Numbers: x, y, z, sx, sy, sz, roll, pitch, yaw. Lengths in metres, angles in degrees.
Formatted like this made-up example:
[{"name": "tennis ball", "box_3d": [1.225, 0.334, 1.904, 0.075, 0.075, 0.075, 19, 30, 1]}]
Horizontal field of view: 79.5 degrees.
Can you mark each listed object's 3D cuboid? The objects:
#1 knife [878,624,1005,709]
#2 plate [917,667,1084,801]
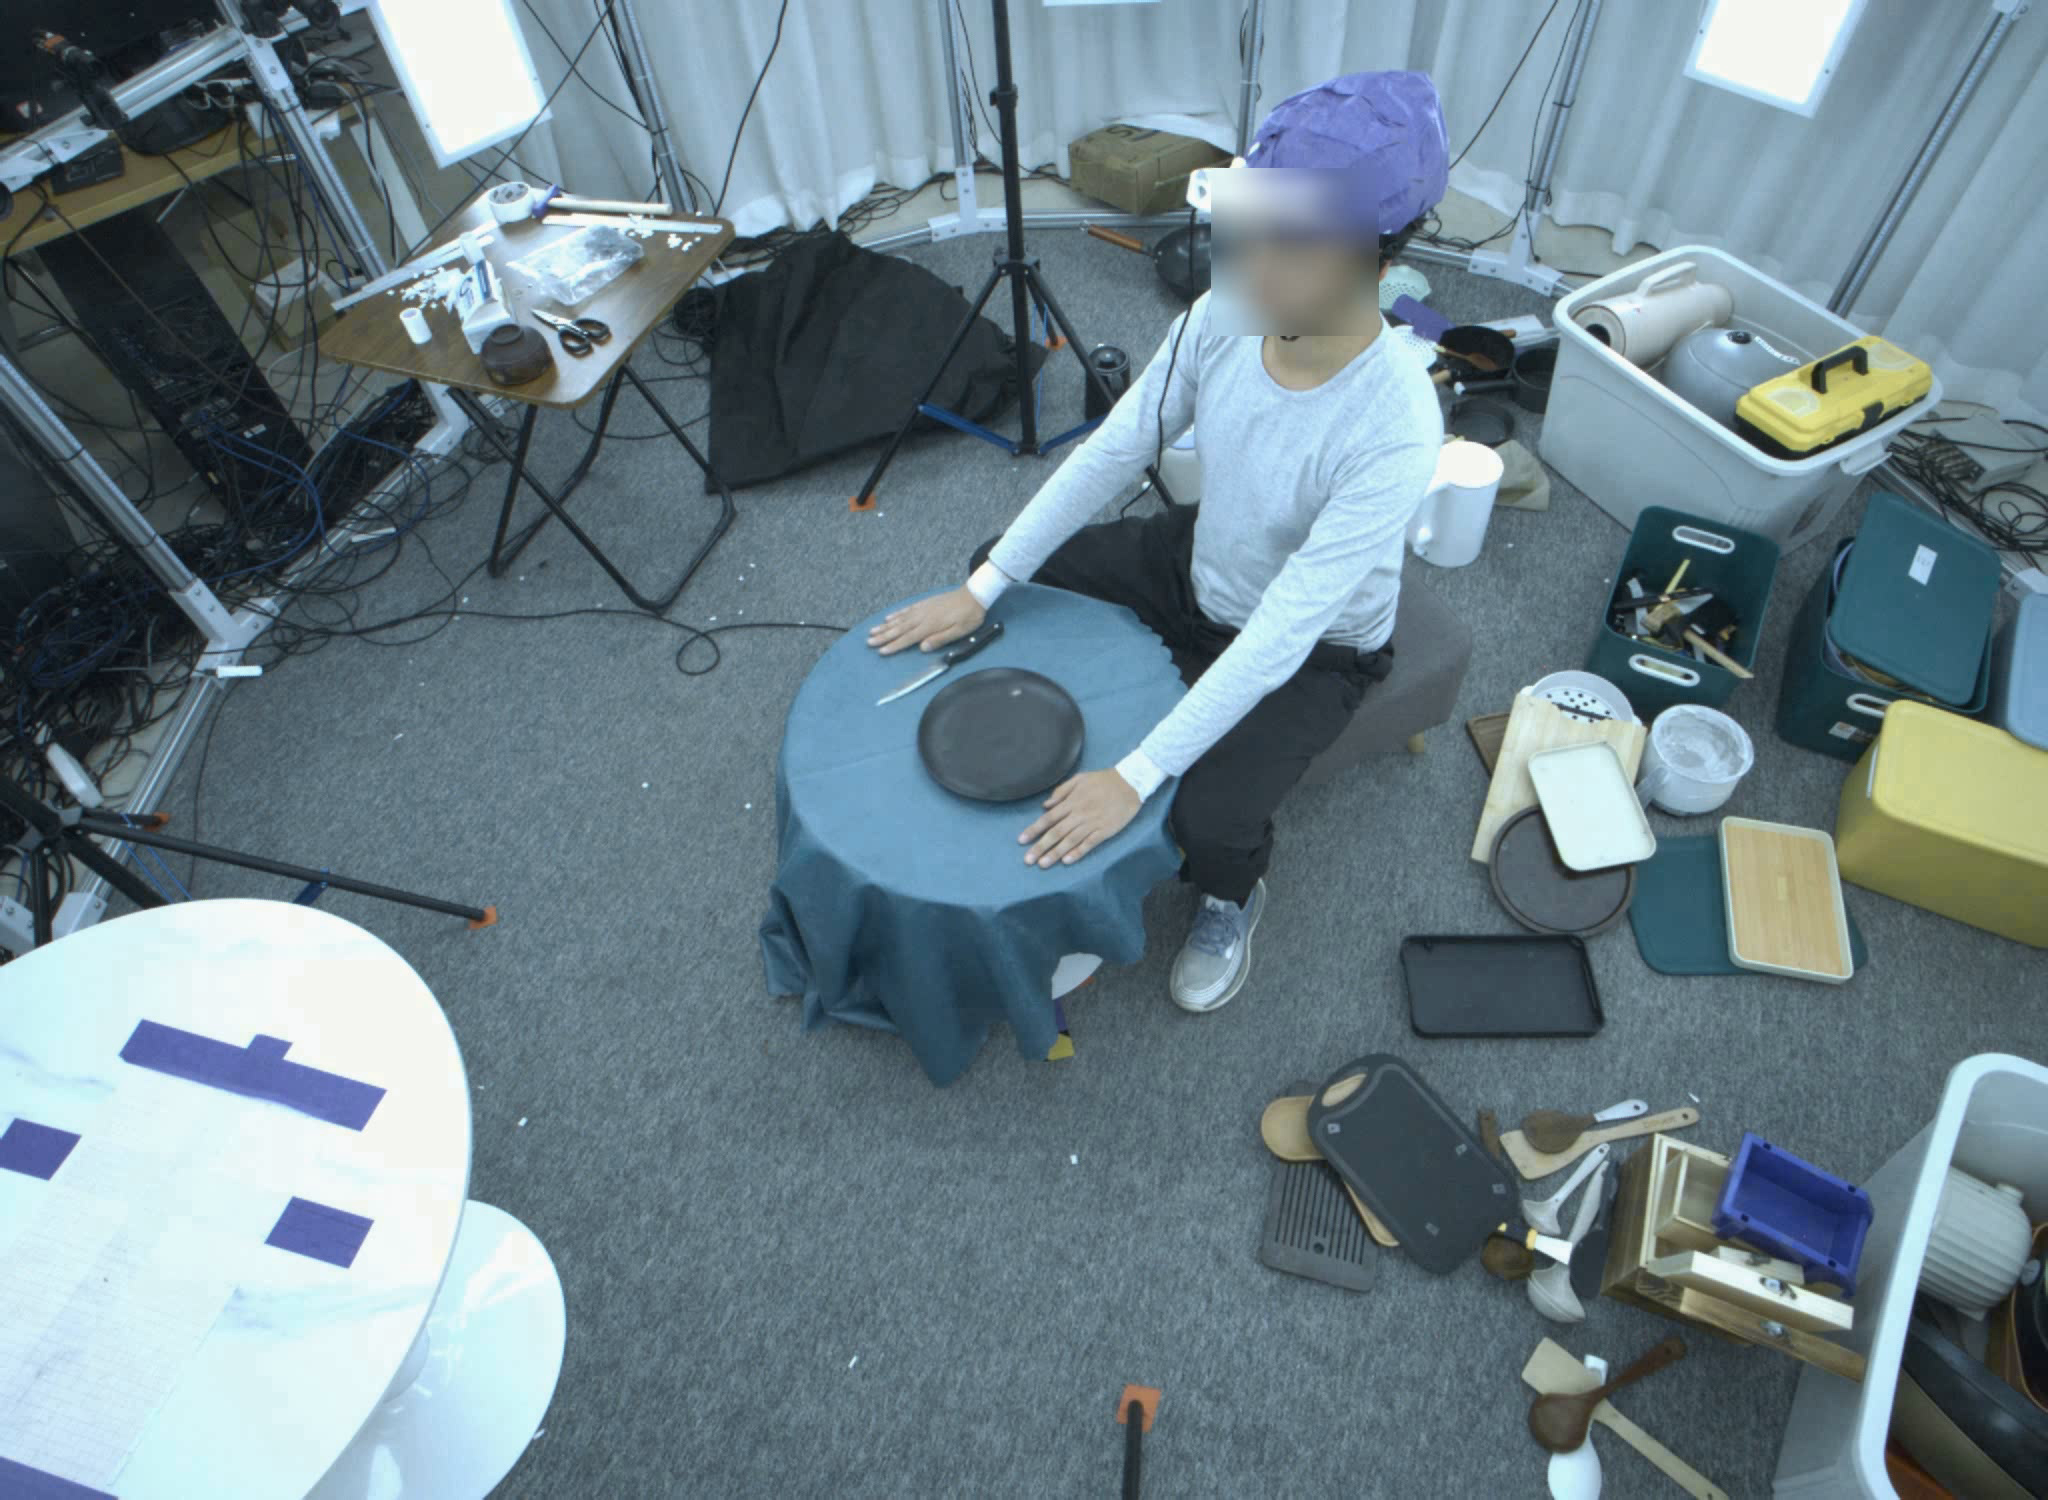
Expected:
[{"name": "knife", "box_3d": [-0.129, -0.130, 1.885, 0.240, 0.016, 0.024, -35, 61, -18]}, {"name": "plate", "box_3d": [-0.034, -0.022, 1.798, 0.244, 0.023, 0.242, 0, 54, 1]}]
